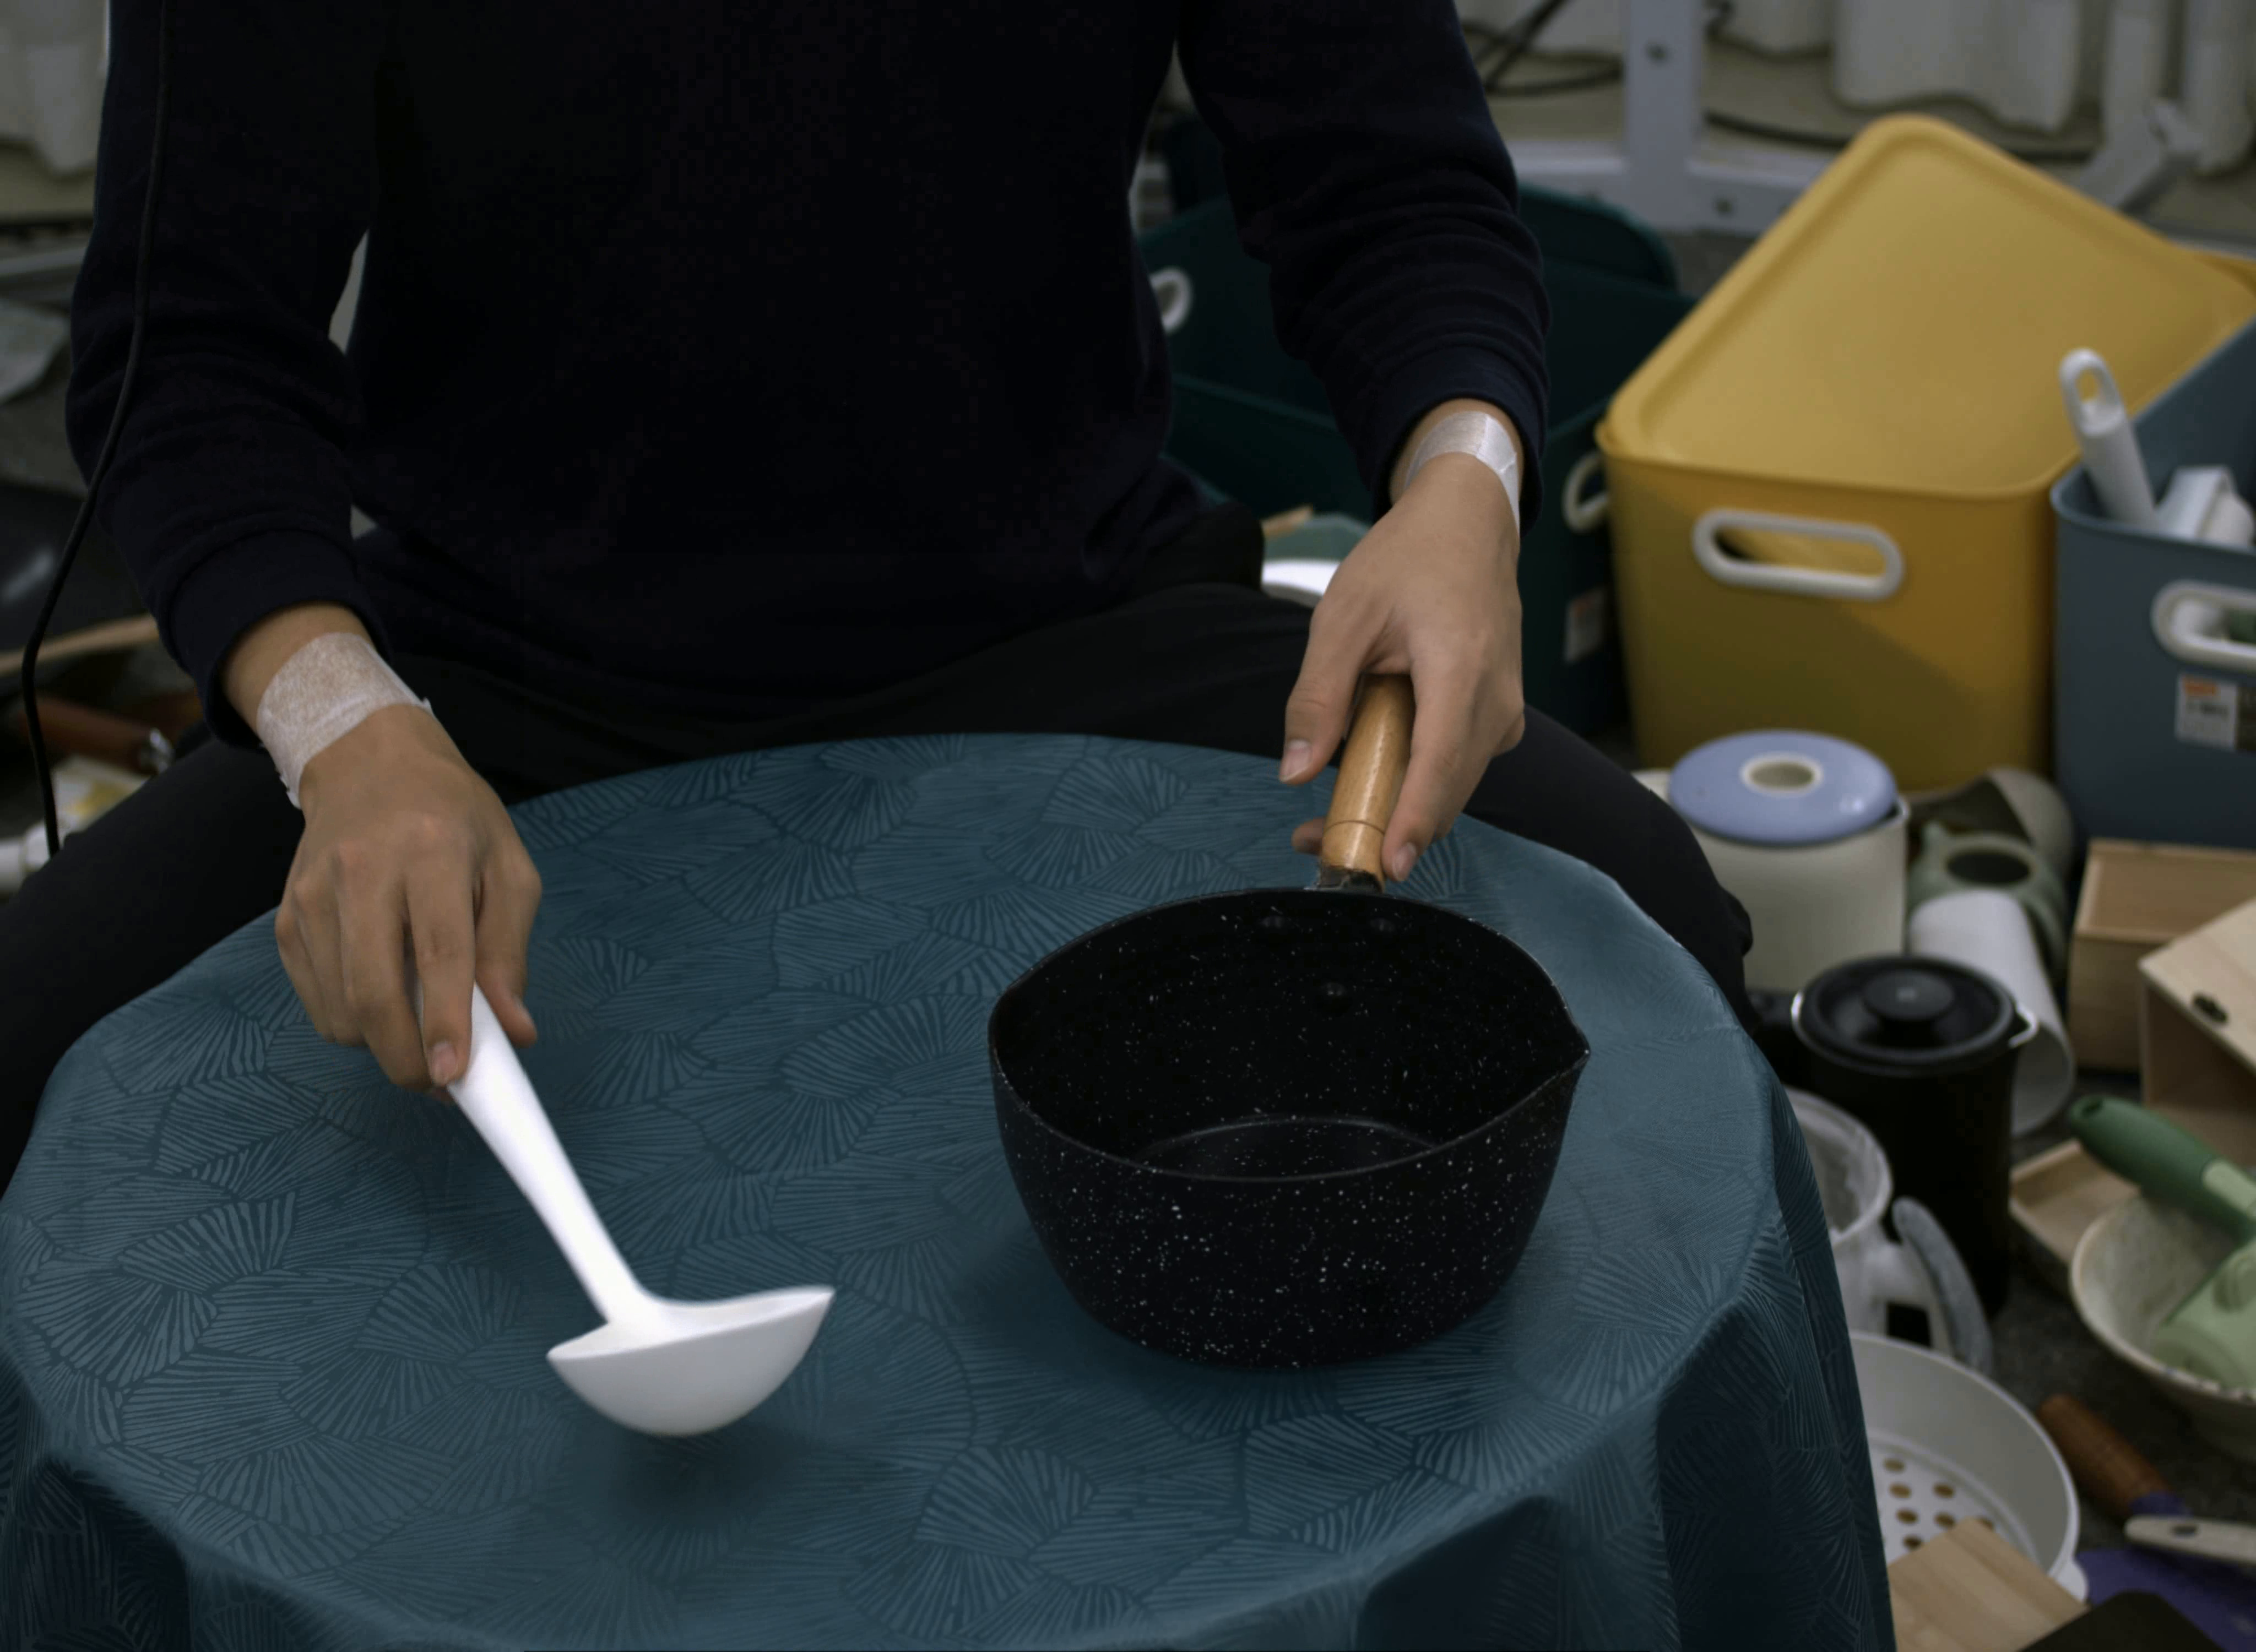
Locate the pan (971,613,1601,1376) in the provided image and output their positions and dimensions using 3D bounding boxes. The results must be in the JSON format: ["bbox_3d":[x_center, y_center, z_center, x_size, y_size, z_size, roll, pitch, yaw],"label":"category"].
[{"bbox_3d":[0.064,0.052,1.873,0.206,0.107,0.349,2,29,11],"label":"pan"}]

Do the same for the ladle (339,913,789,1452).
[{"bbox_3d":[-0.193,0.104,1.793,0.090,0.069,0.296,-16,38,-19],"label":"ladle"}]
